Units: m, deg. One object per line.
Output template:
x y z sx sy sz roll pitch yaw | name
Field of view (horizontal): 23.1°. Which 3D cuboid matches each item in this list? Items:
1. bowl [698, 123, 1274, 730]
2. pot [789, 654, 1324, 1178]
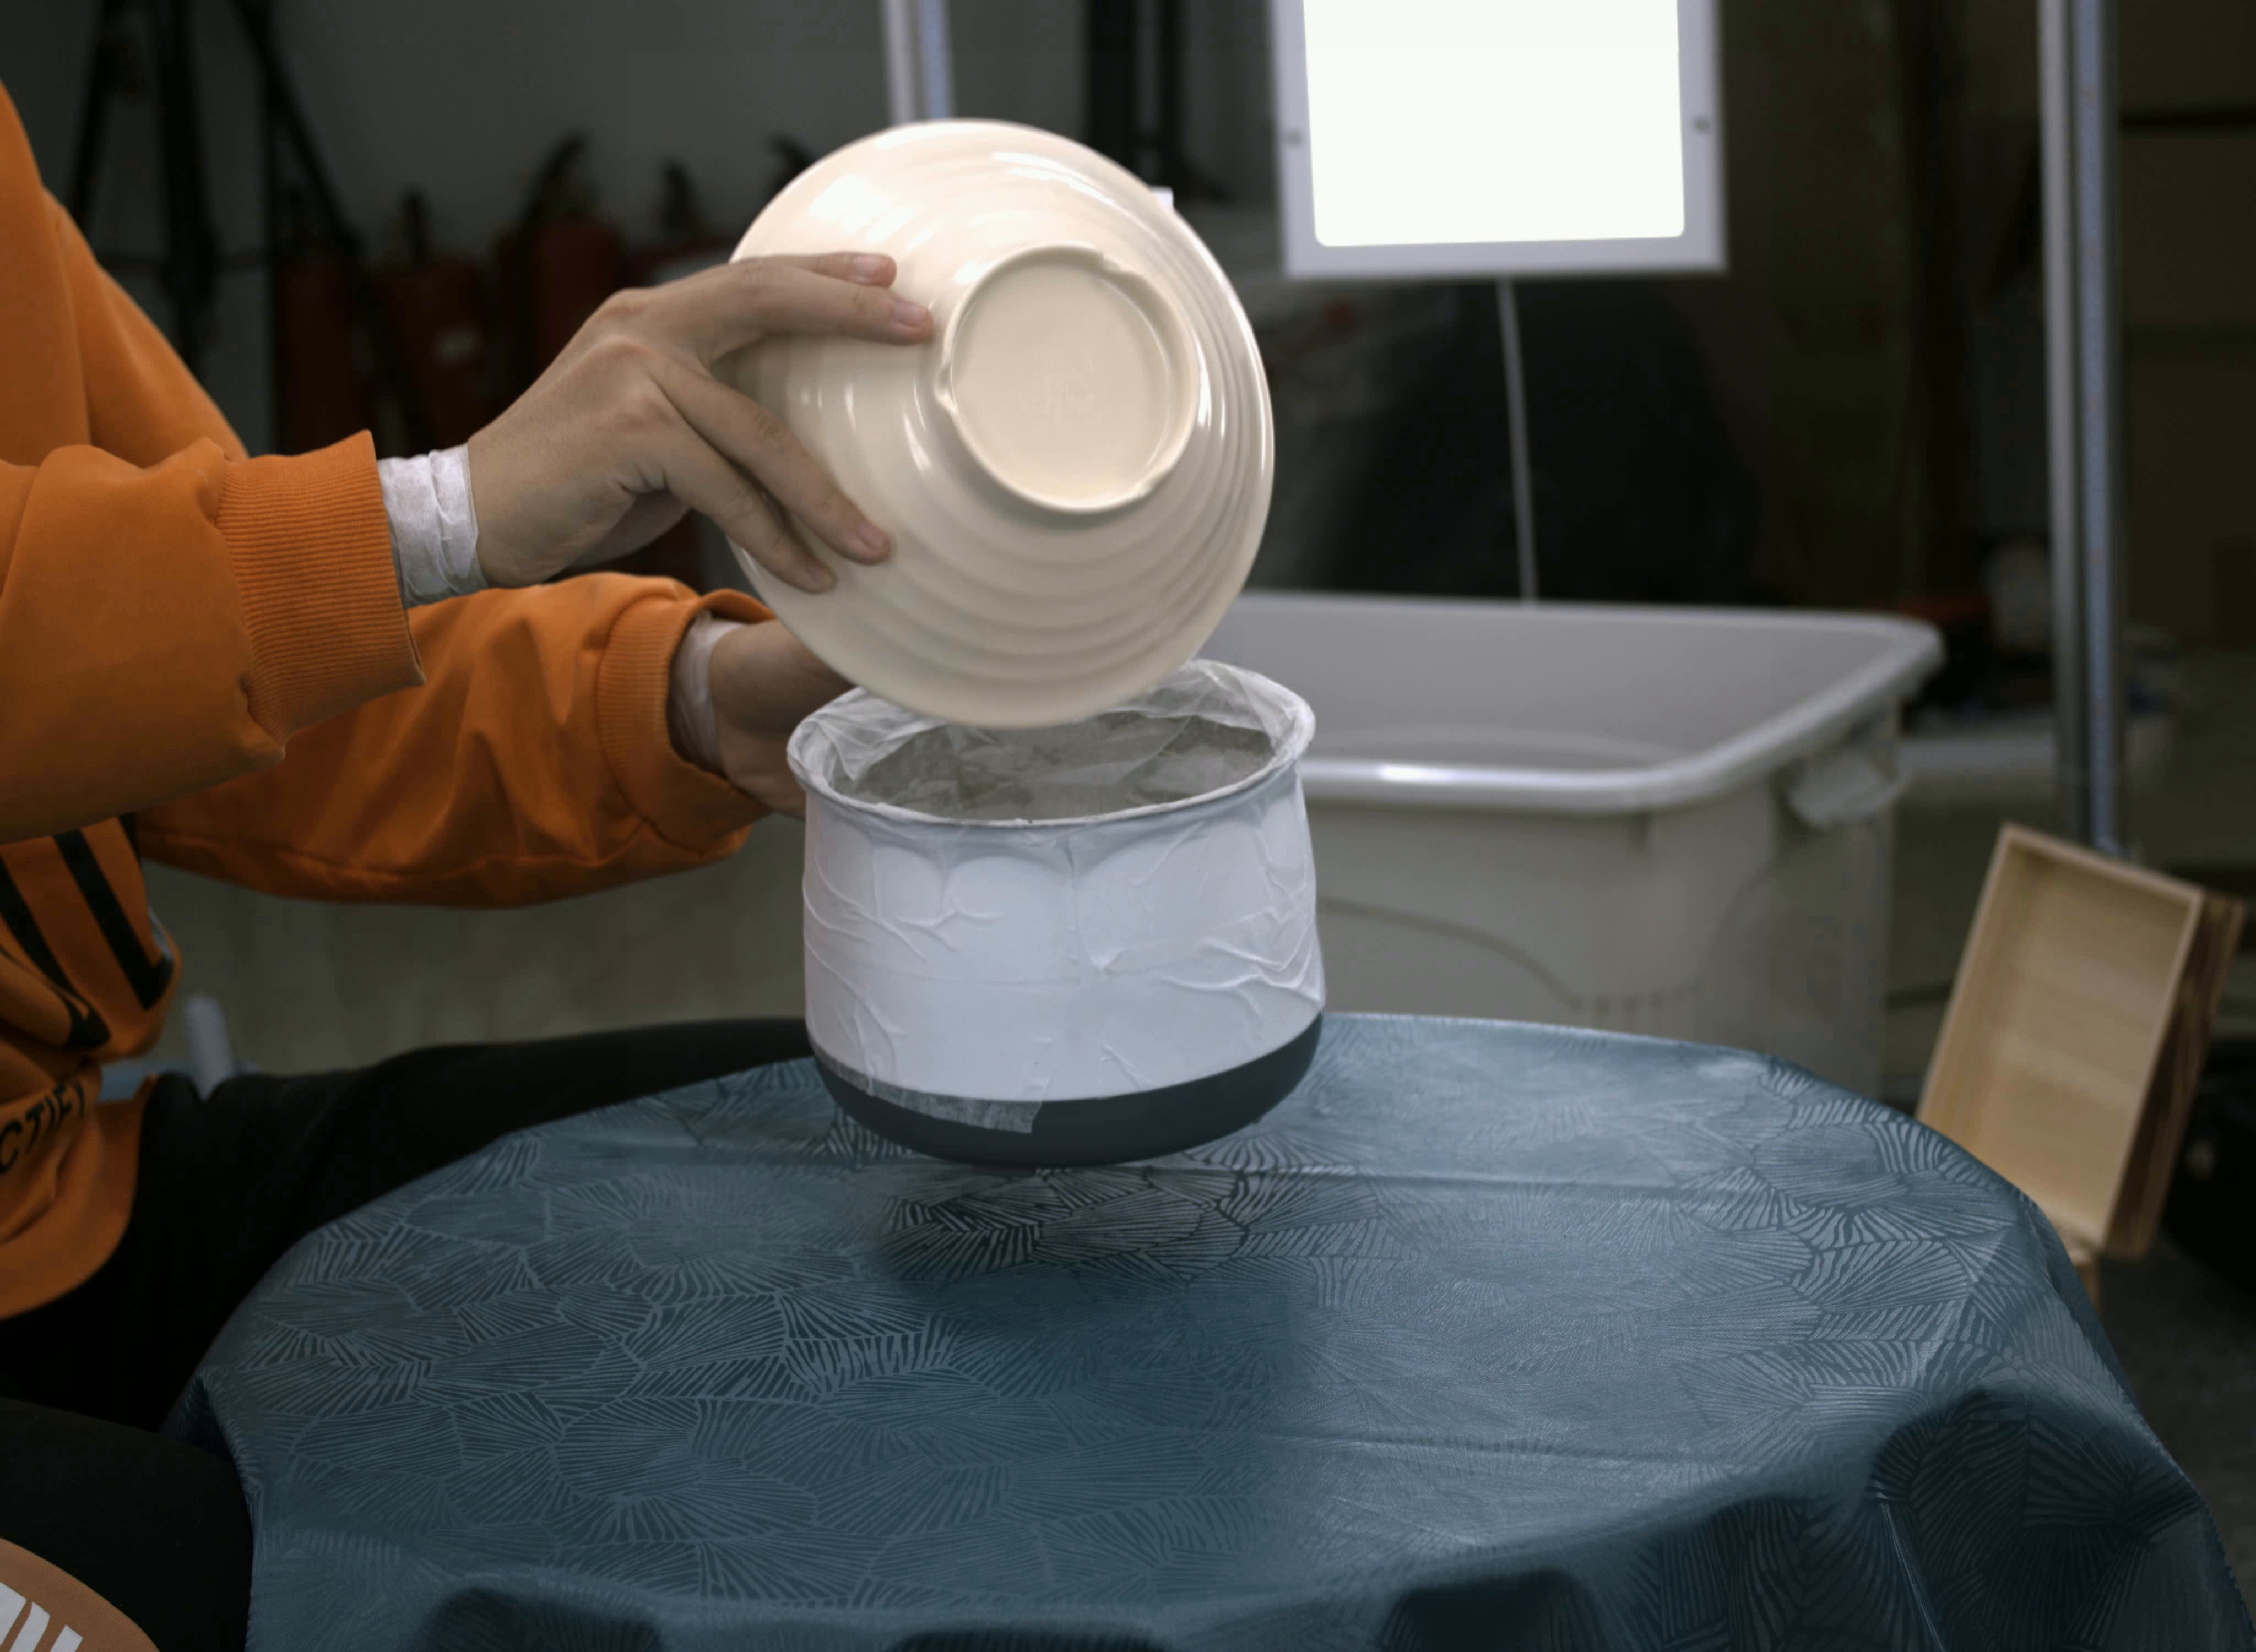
-0.030 -0.138 1.763 0.200 0.204 0.079 -11 -6 -24 | bowl
-0.036 0.021 1.874 0.175 0.137 0.237 -12 22 -25 | pot
